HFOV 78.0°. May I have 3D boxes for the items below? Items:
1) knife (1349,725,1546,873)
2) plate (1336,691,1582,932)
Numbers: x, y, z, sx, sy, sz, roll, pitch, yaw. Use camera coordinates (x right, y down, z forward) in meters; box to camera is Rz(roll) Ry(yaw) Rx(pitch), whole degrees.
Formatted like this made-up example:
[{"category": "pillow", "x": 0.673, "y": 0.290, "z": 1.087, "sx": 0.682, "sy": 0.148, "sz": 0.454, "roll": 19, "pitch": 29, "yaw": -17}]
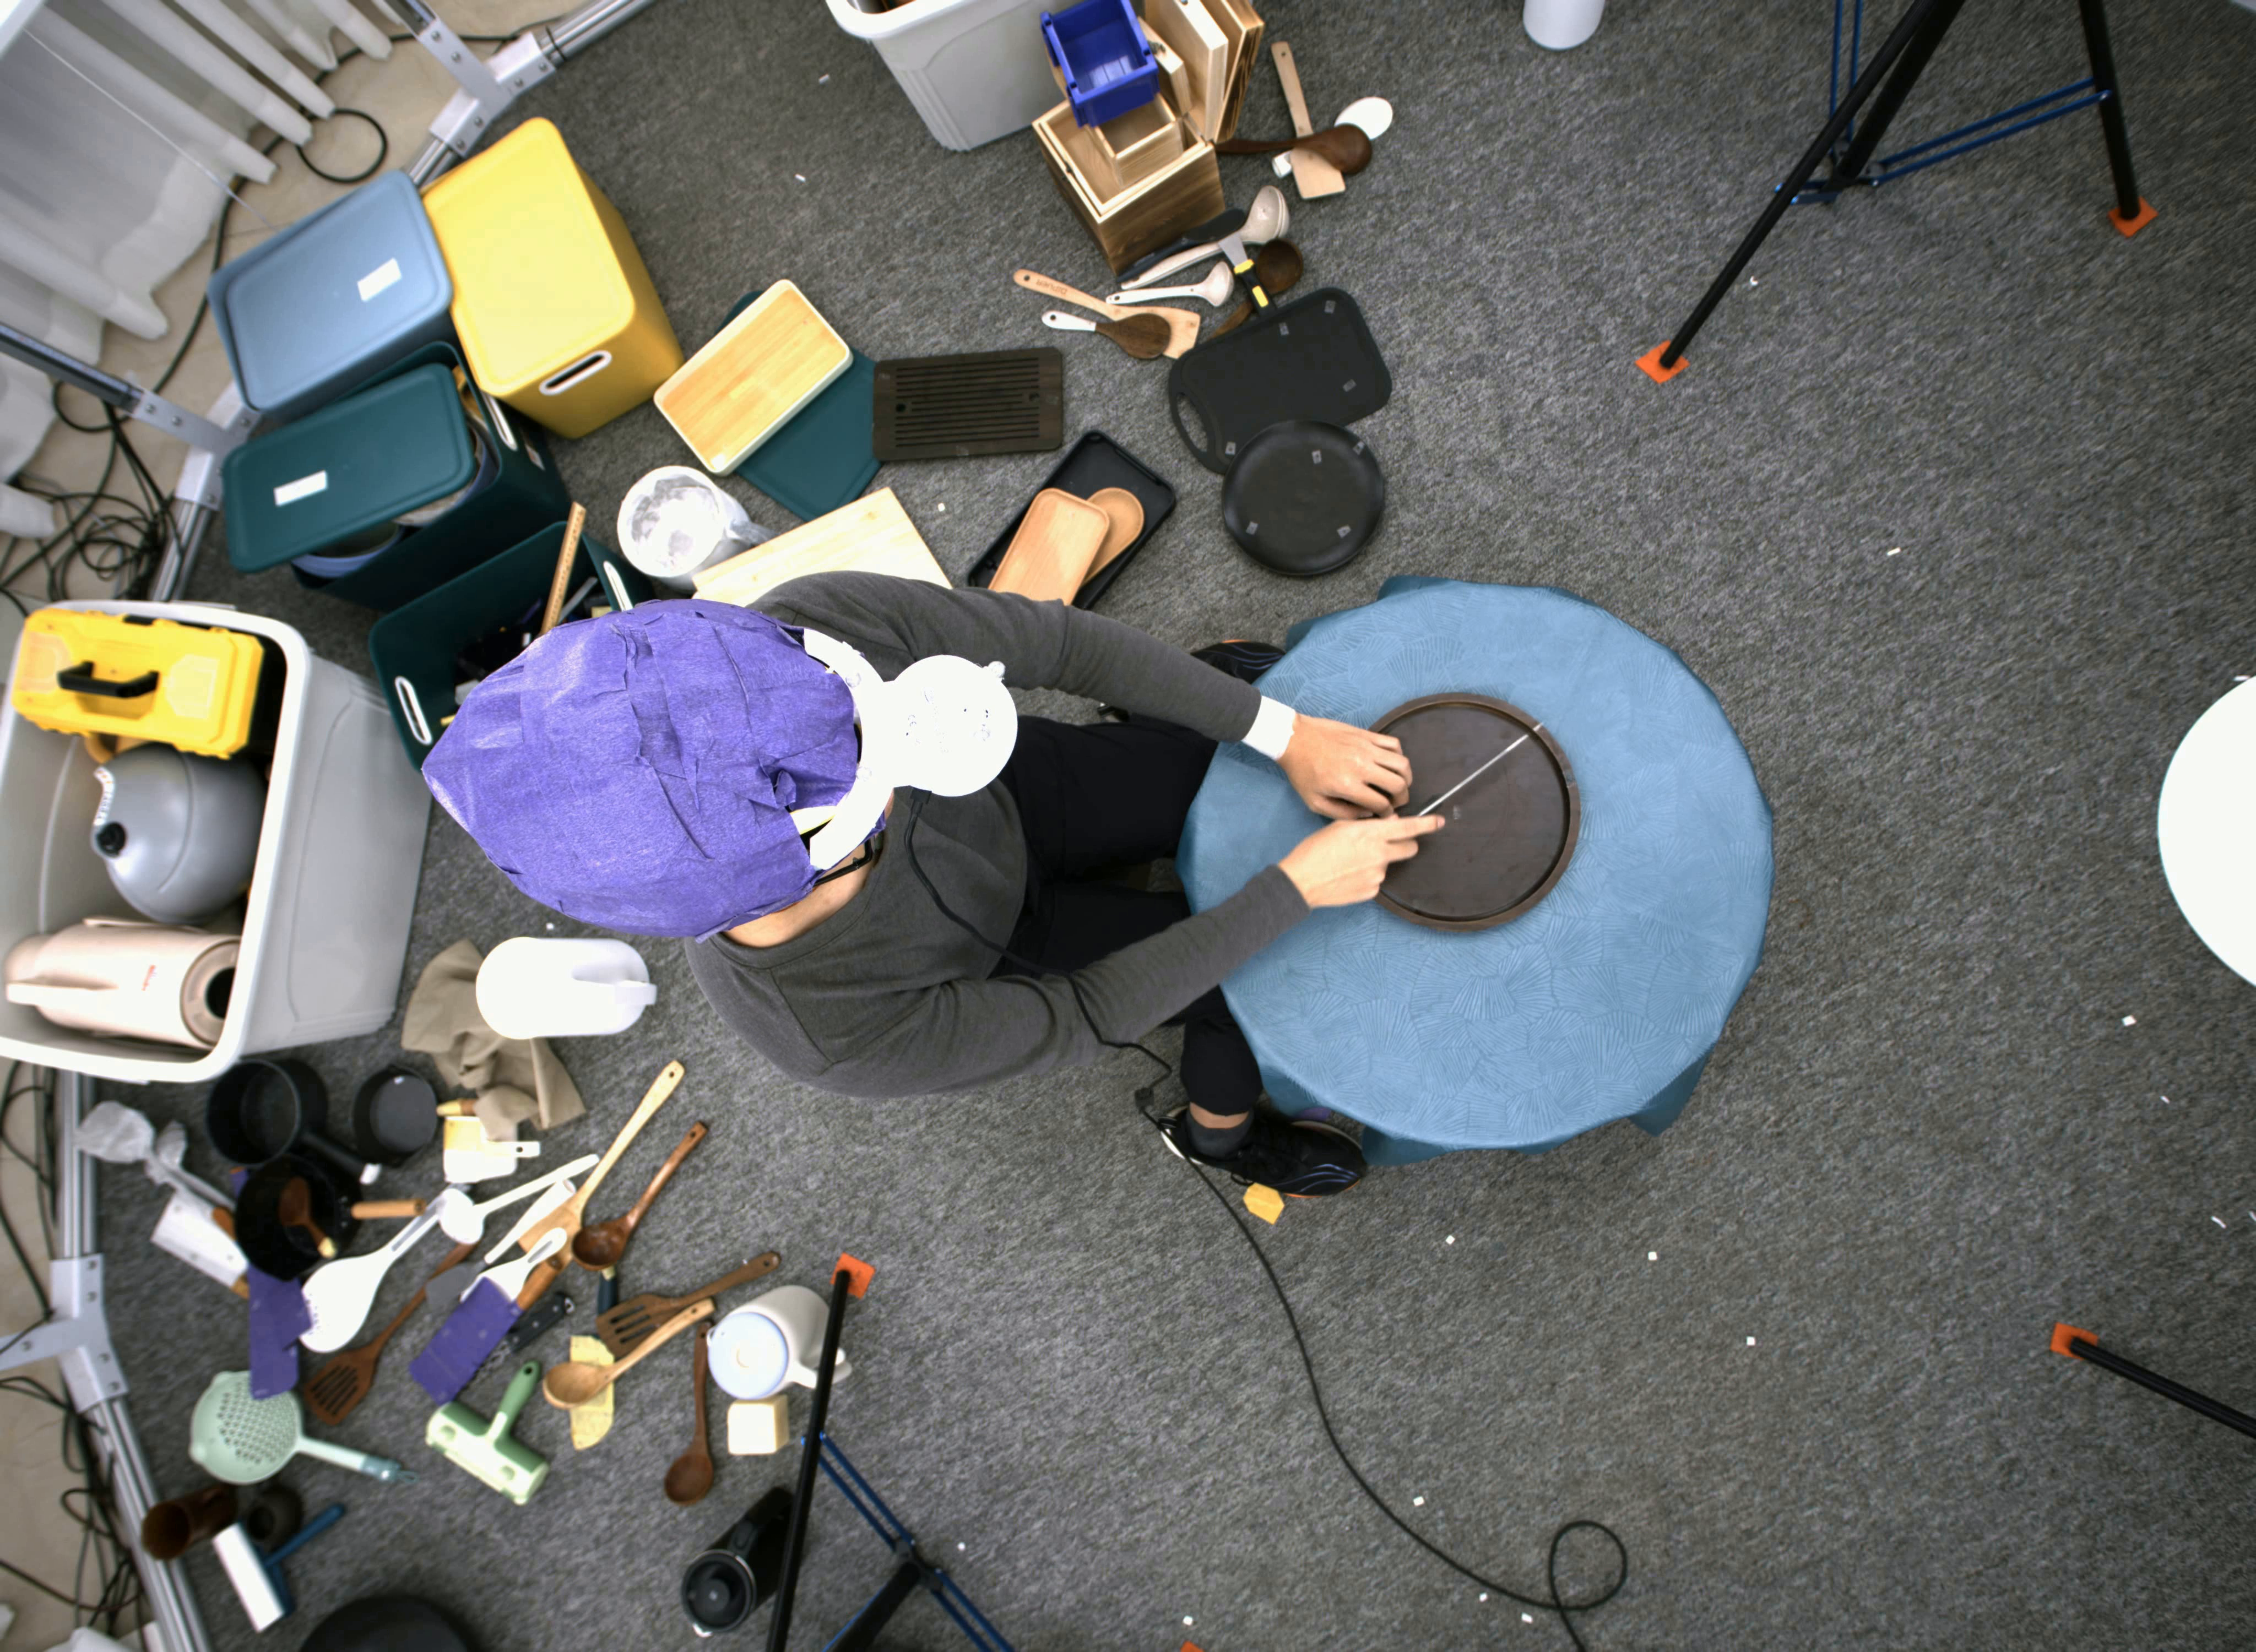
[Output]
[{"category": "knife", "x": 0.315, "y": -0.029, "z": 1.359, "sx": 0.241, "sy": 0.024, "sz": 0.016, "roll": -38, "pitch": 82, "yaw": 14}, {"category": "plate", "x": 0.344, "y": -0.017, "z": 1.440, "sx": 0.256, "sy": 0.029, "sz": 0.253, "roll": -1, "pitch": 86, "yaw": 10}]
